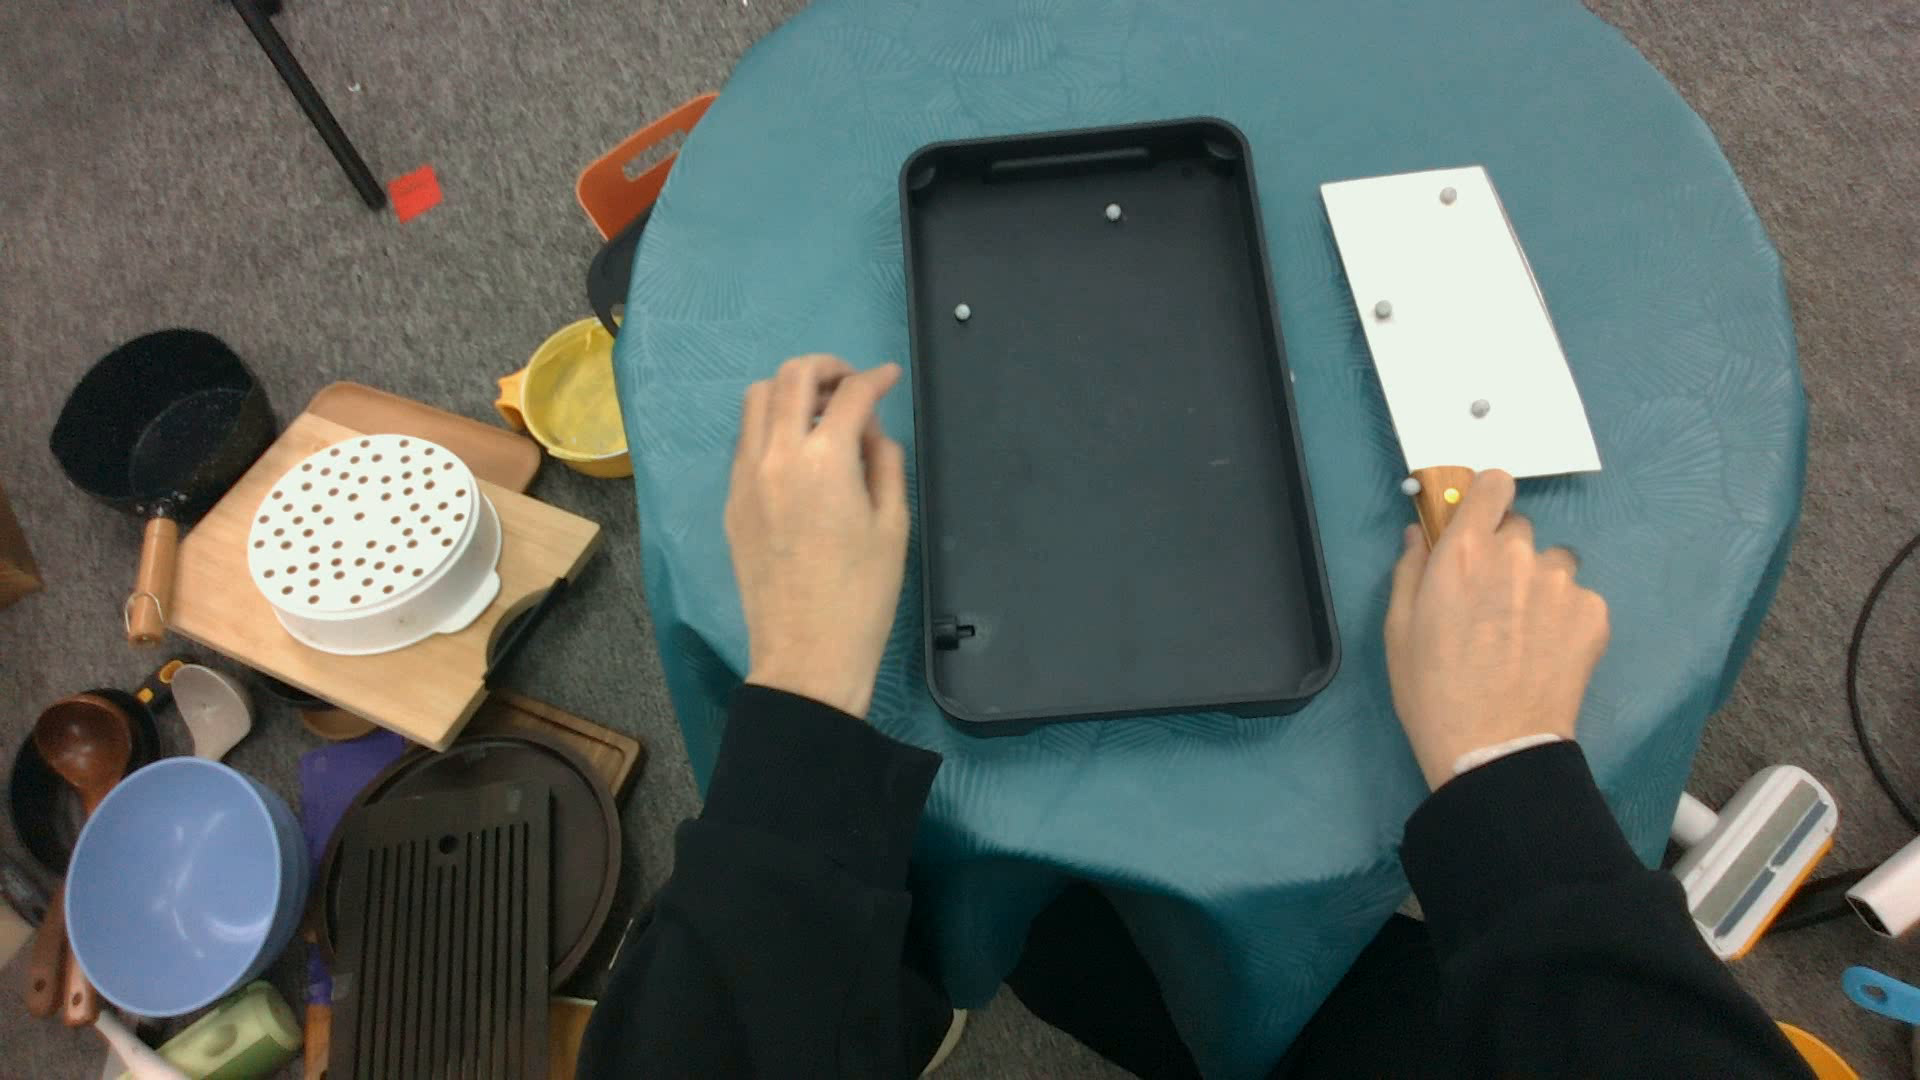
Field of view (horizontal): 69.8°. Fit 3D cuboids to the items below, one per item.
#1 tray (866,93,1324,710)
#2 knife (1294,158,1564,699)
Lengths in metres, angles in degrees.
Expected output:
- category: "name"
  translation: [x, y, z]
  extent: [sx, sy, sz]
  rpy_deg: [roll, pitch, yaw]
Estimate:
- category: "tray"
  translation: [0.057, -0.078, 0.679]
  extent: [0.184, 0.037, 0.319]
  rpy_deg: [-6, 66, 0]
- category: "knife"
  translation: [0.240, -0.070, 0.671]
  extent: [0.093, 0.021, 0.307]
  rpy_deg: [-6, 62, -4]
